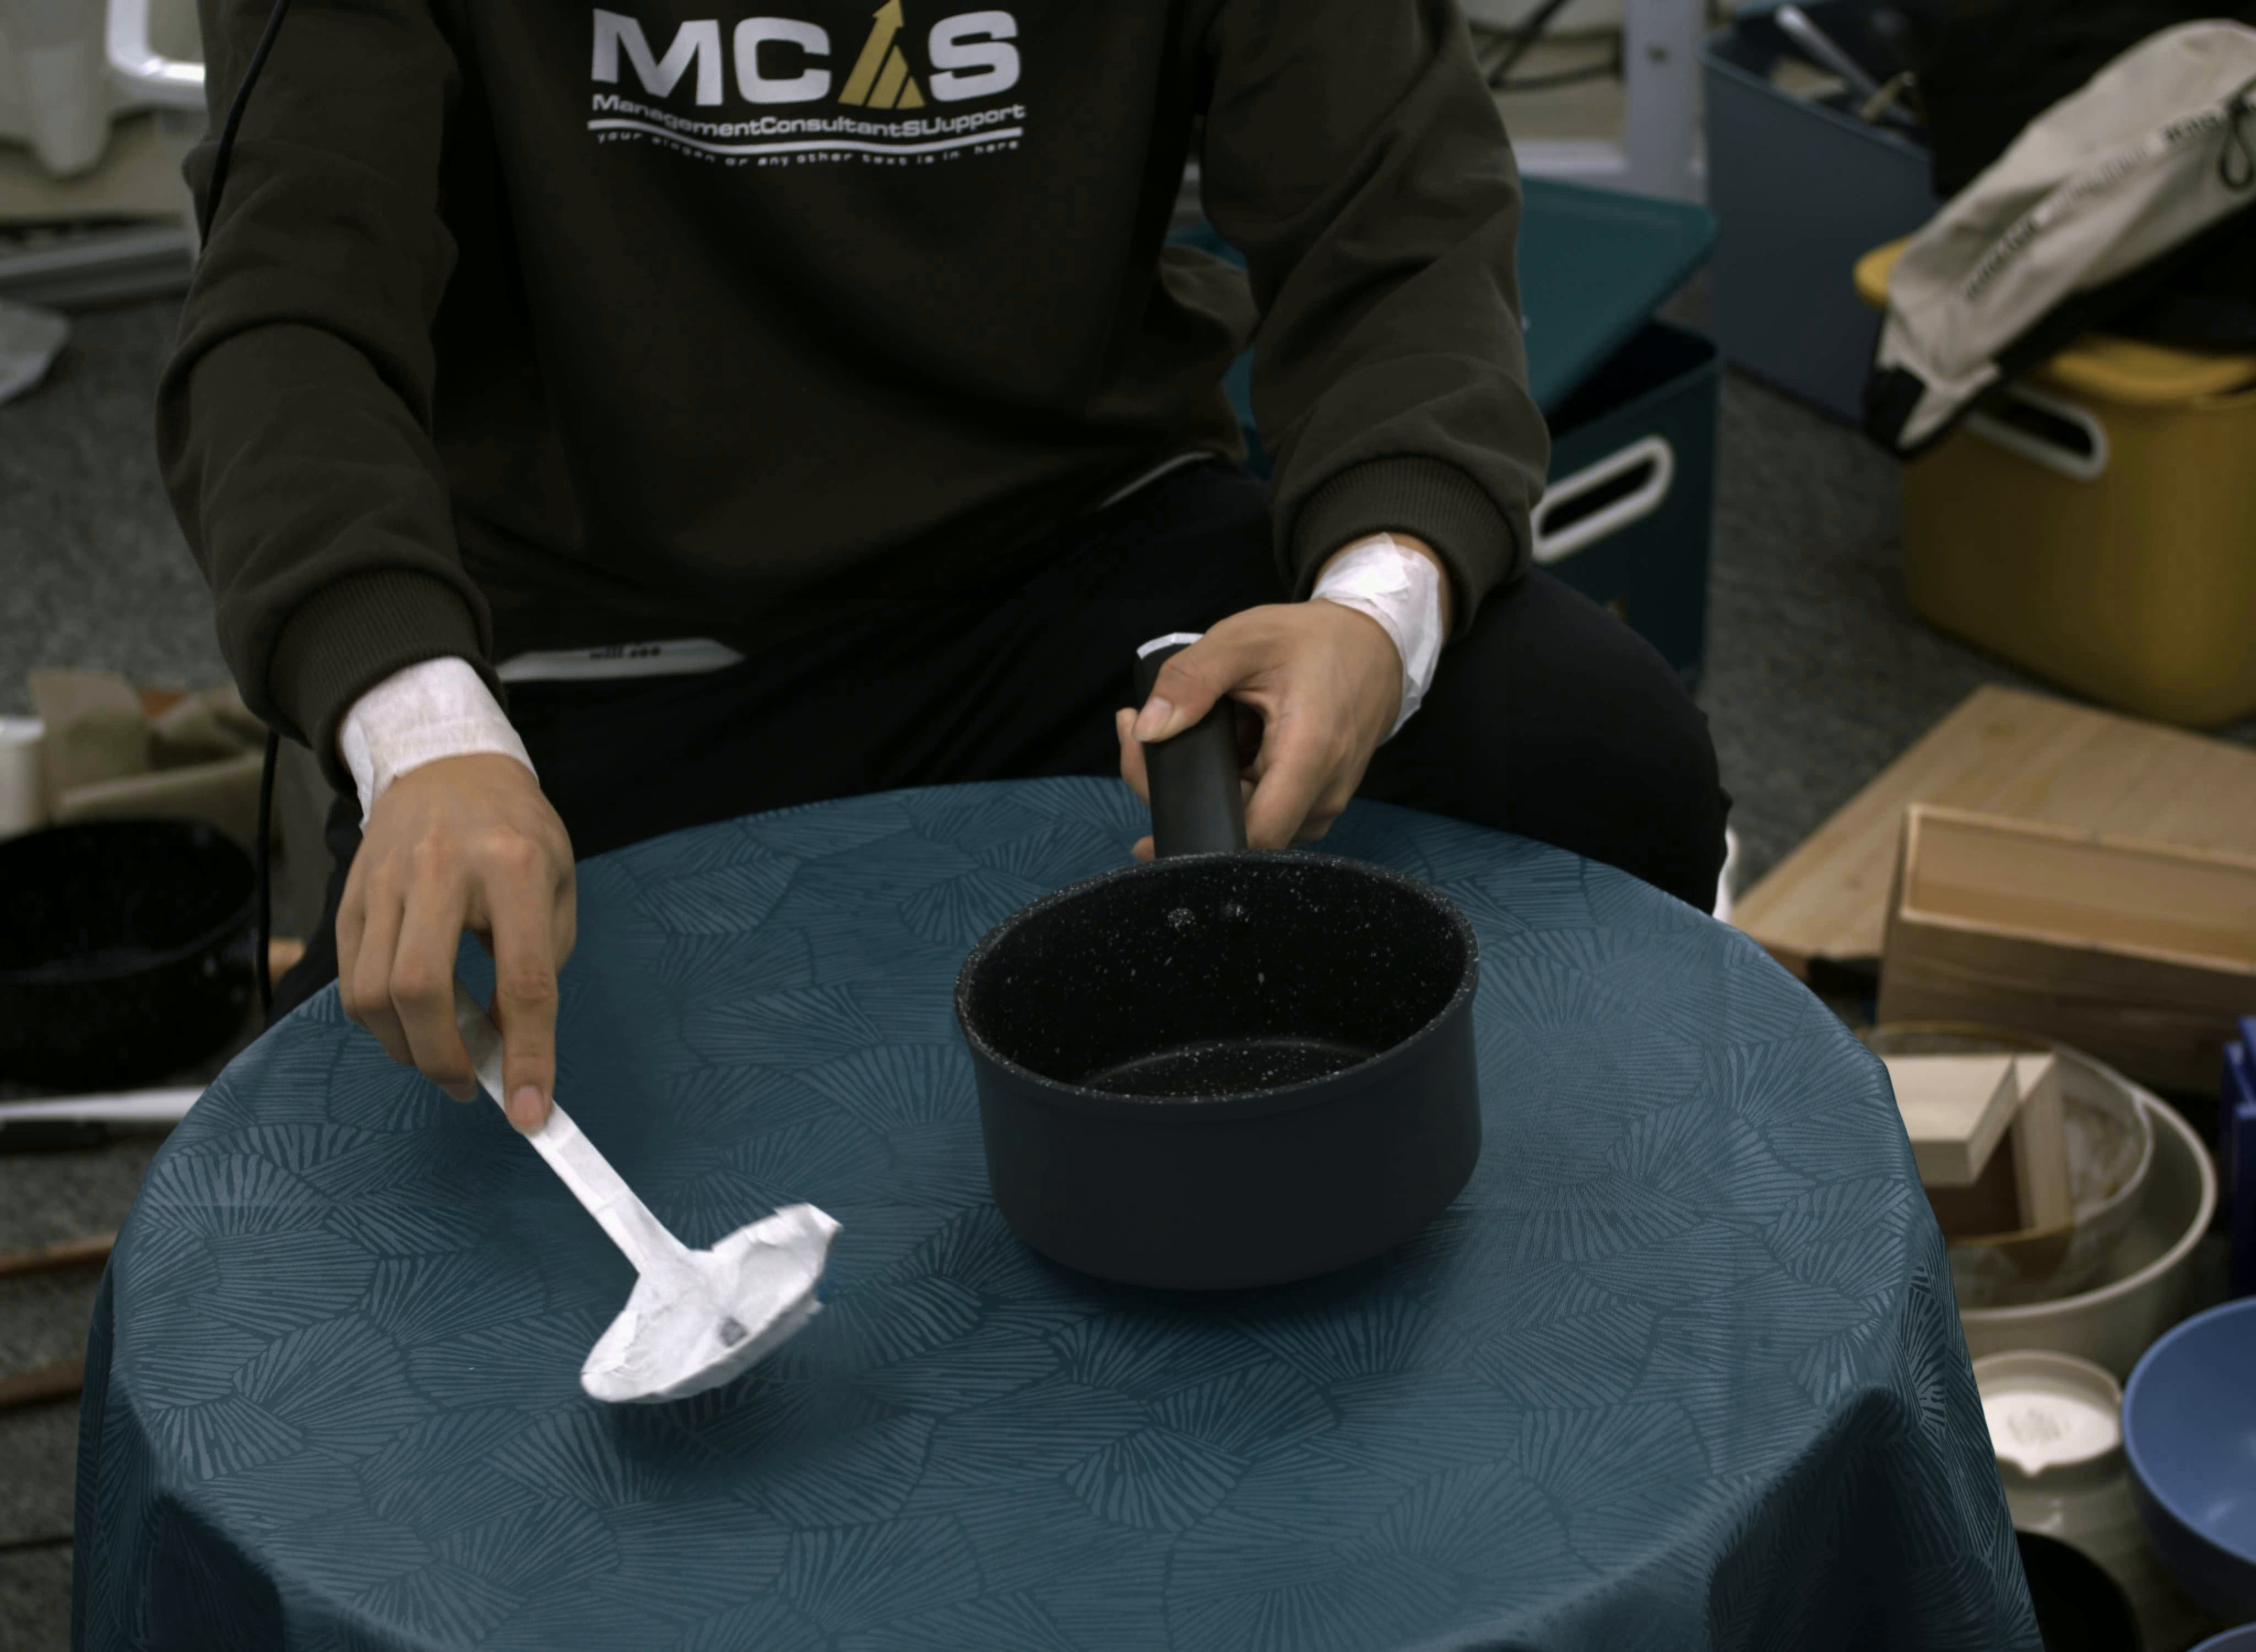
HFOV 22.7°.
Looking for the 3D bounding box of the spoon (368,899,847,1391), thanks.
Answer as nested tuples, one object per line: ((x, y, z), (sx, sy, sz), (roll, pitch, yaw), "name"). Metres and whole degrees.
((-0.180, 0.089, 1.808), (0.101, 0.058, 0.279), (-30, 50, -16), "spoon")

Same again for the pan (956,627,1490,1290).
((0.033, 0.041, 1.897), (0.171, 0.085, 0.334), (-4, 27, 2), "pan")
